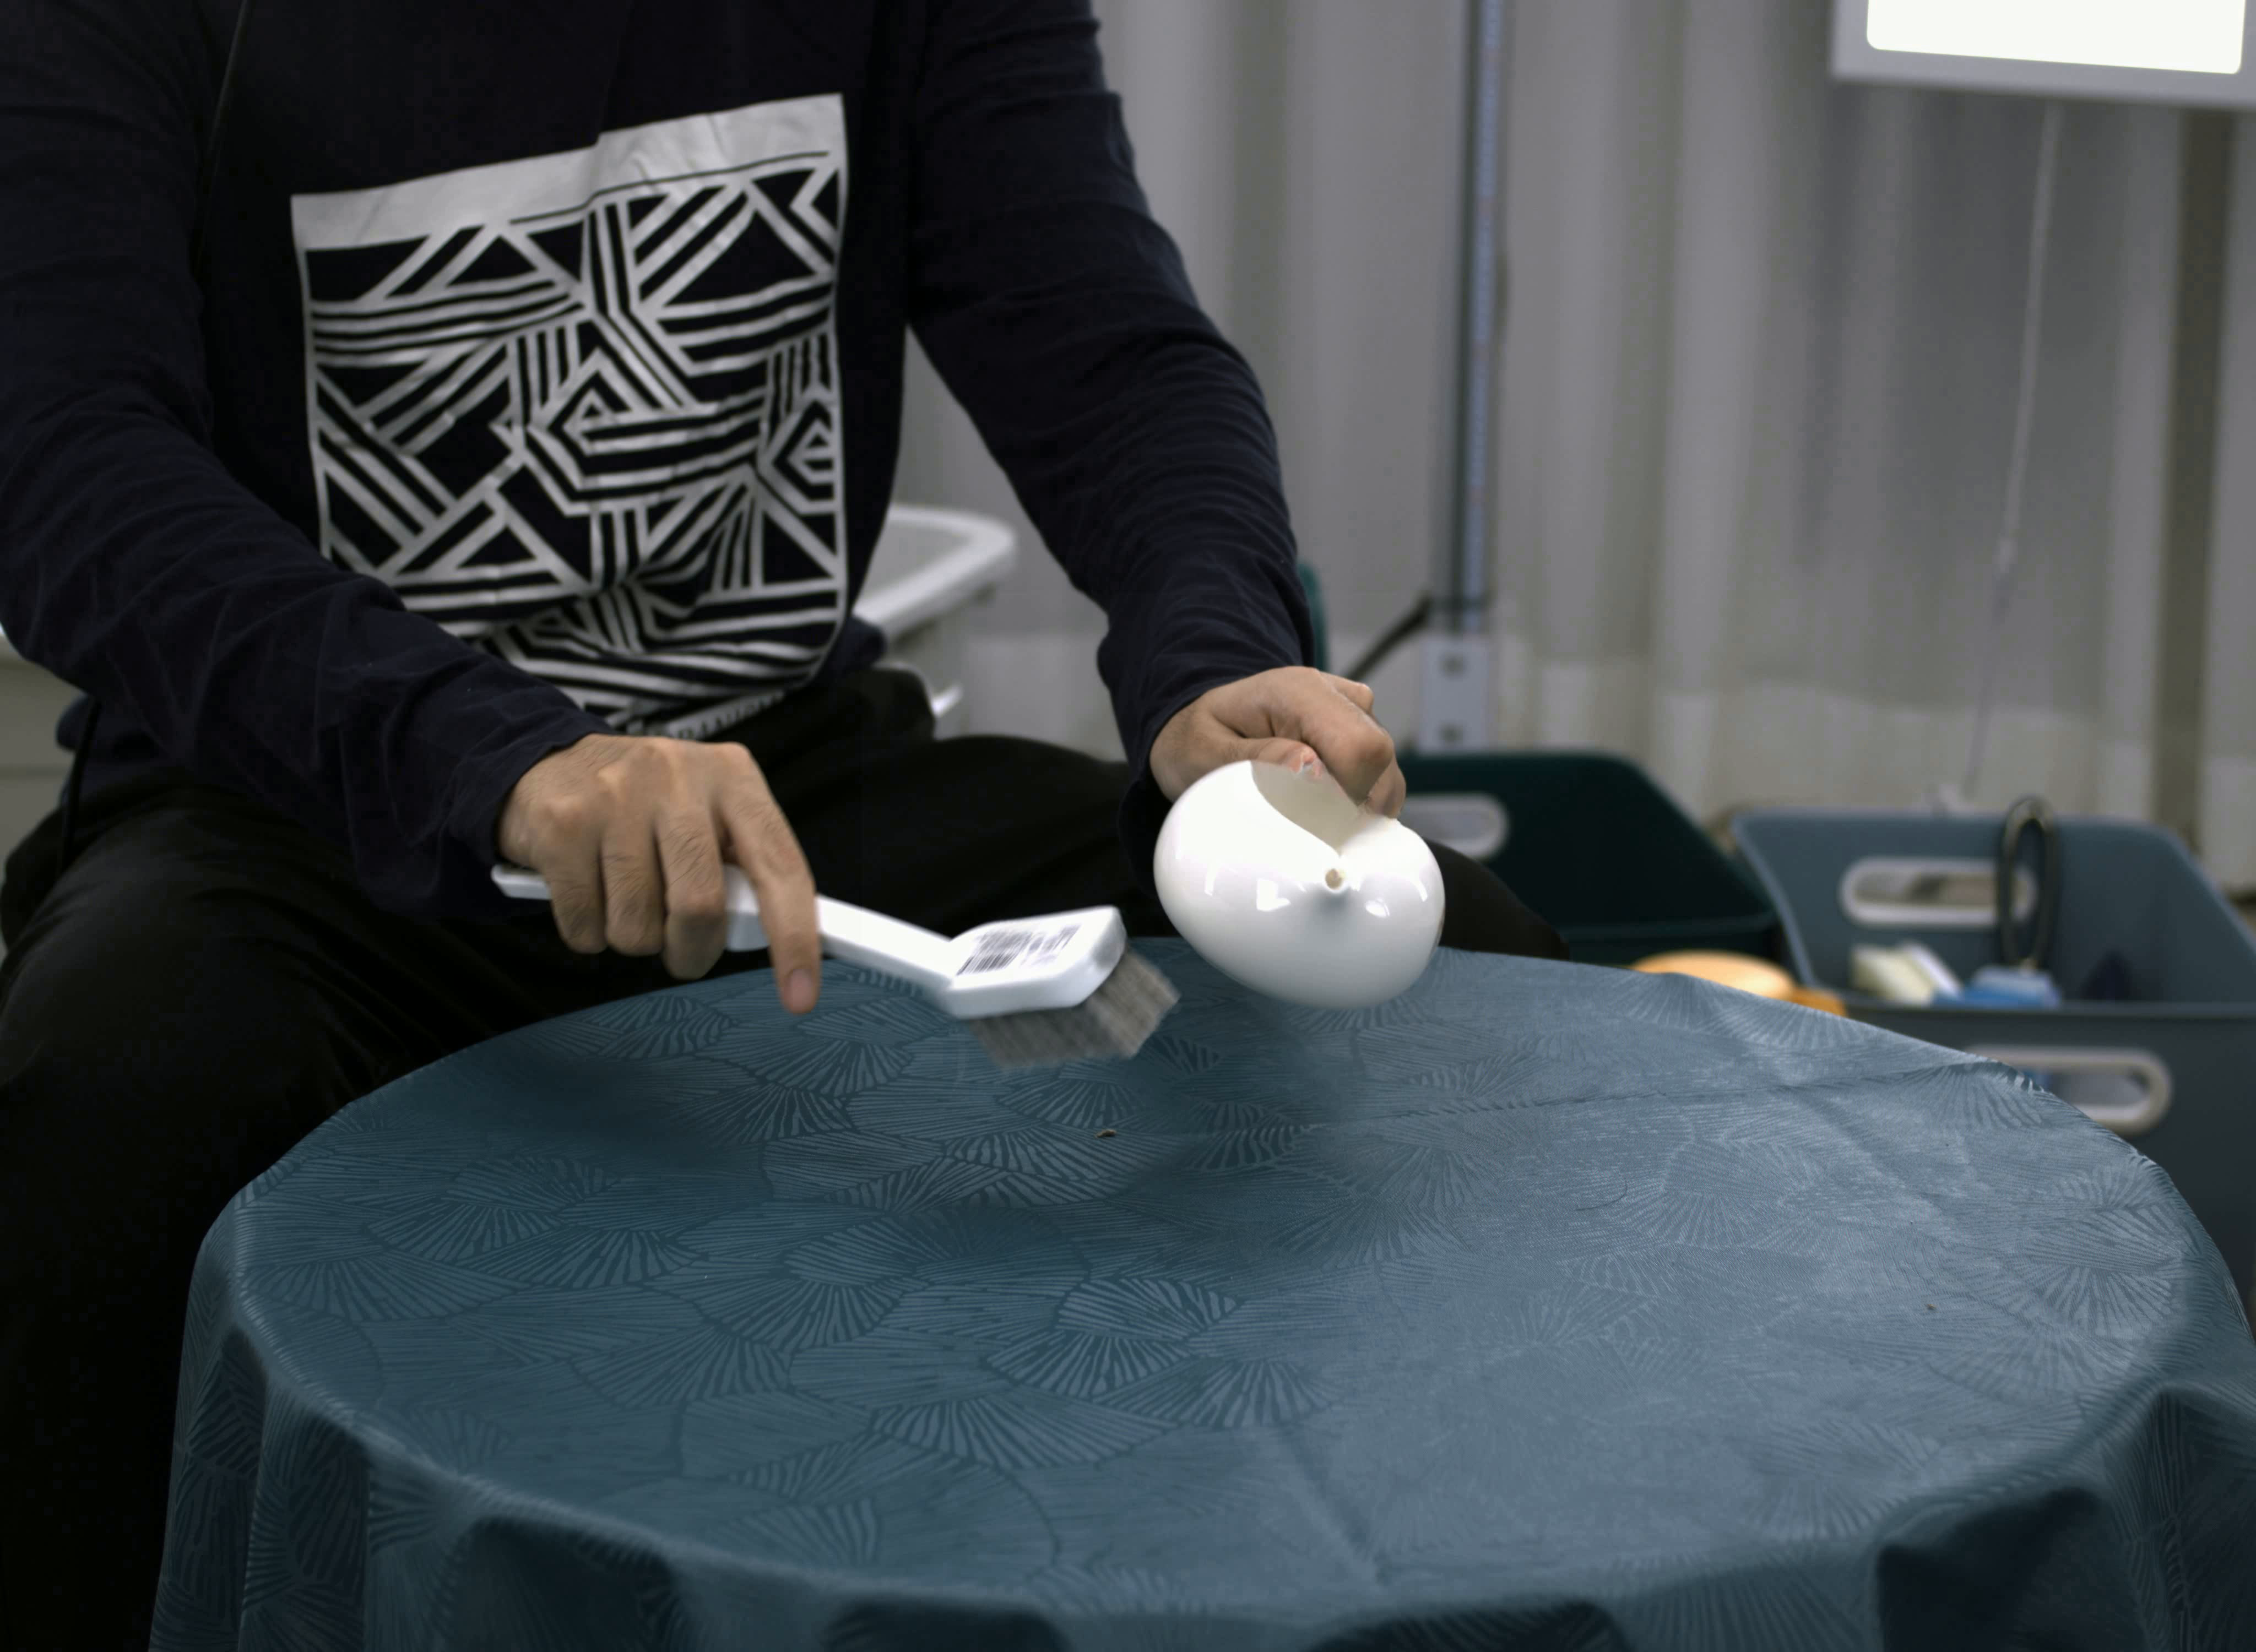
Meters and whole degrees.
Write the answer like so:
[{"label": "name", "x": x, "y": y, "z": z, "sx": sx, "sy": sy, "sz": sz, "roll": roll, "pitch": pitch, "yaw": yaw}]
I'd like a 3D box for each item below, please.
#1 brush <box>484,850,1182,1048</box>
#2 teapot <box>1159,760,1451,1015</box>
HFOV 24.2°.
[{"label": "brush", "x": -0.094, "y": 0.037, "z": 1.639, "sx": 0.241, "sy": 0.051, "sz": 0.034, "roll": 4, "pitch": 47, "yaw": 29}, {"label": "teapot", "x": 0.054, "y": 0.017, "z": 1.647, "sx": 0.094, "sy": 0.057, "sz": 0.126, "roll": 18, "pitch": 20, "yaw": -12}]
